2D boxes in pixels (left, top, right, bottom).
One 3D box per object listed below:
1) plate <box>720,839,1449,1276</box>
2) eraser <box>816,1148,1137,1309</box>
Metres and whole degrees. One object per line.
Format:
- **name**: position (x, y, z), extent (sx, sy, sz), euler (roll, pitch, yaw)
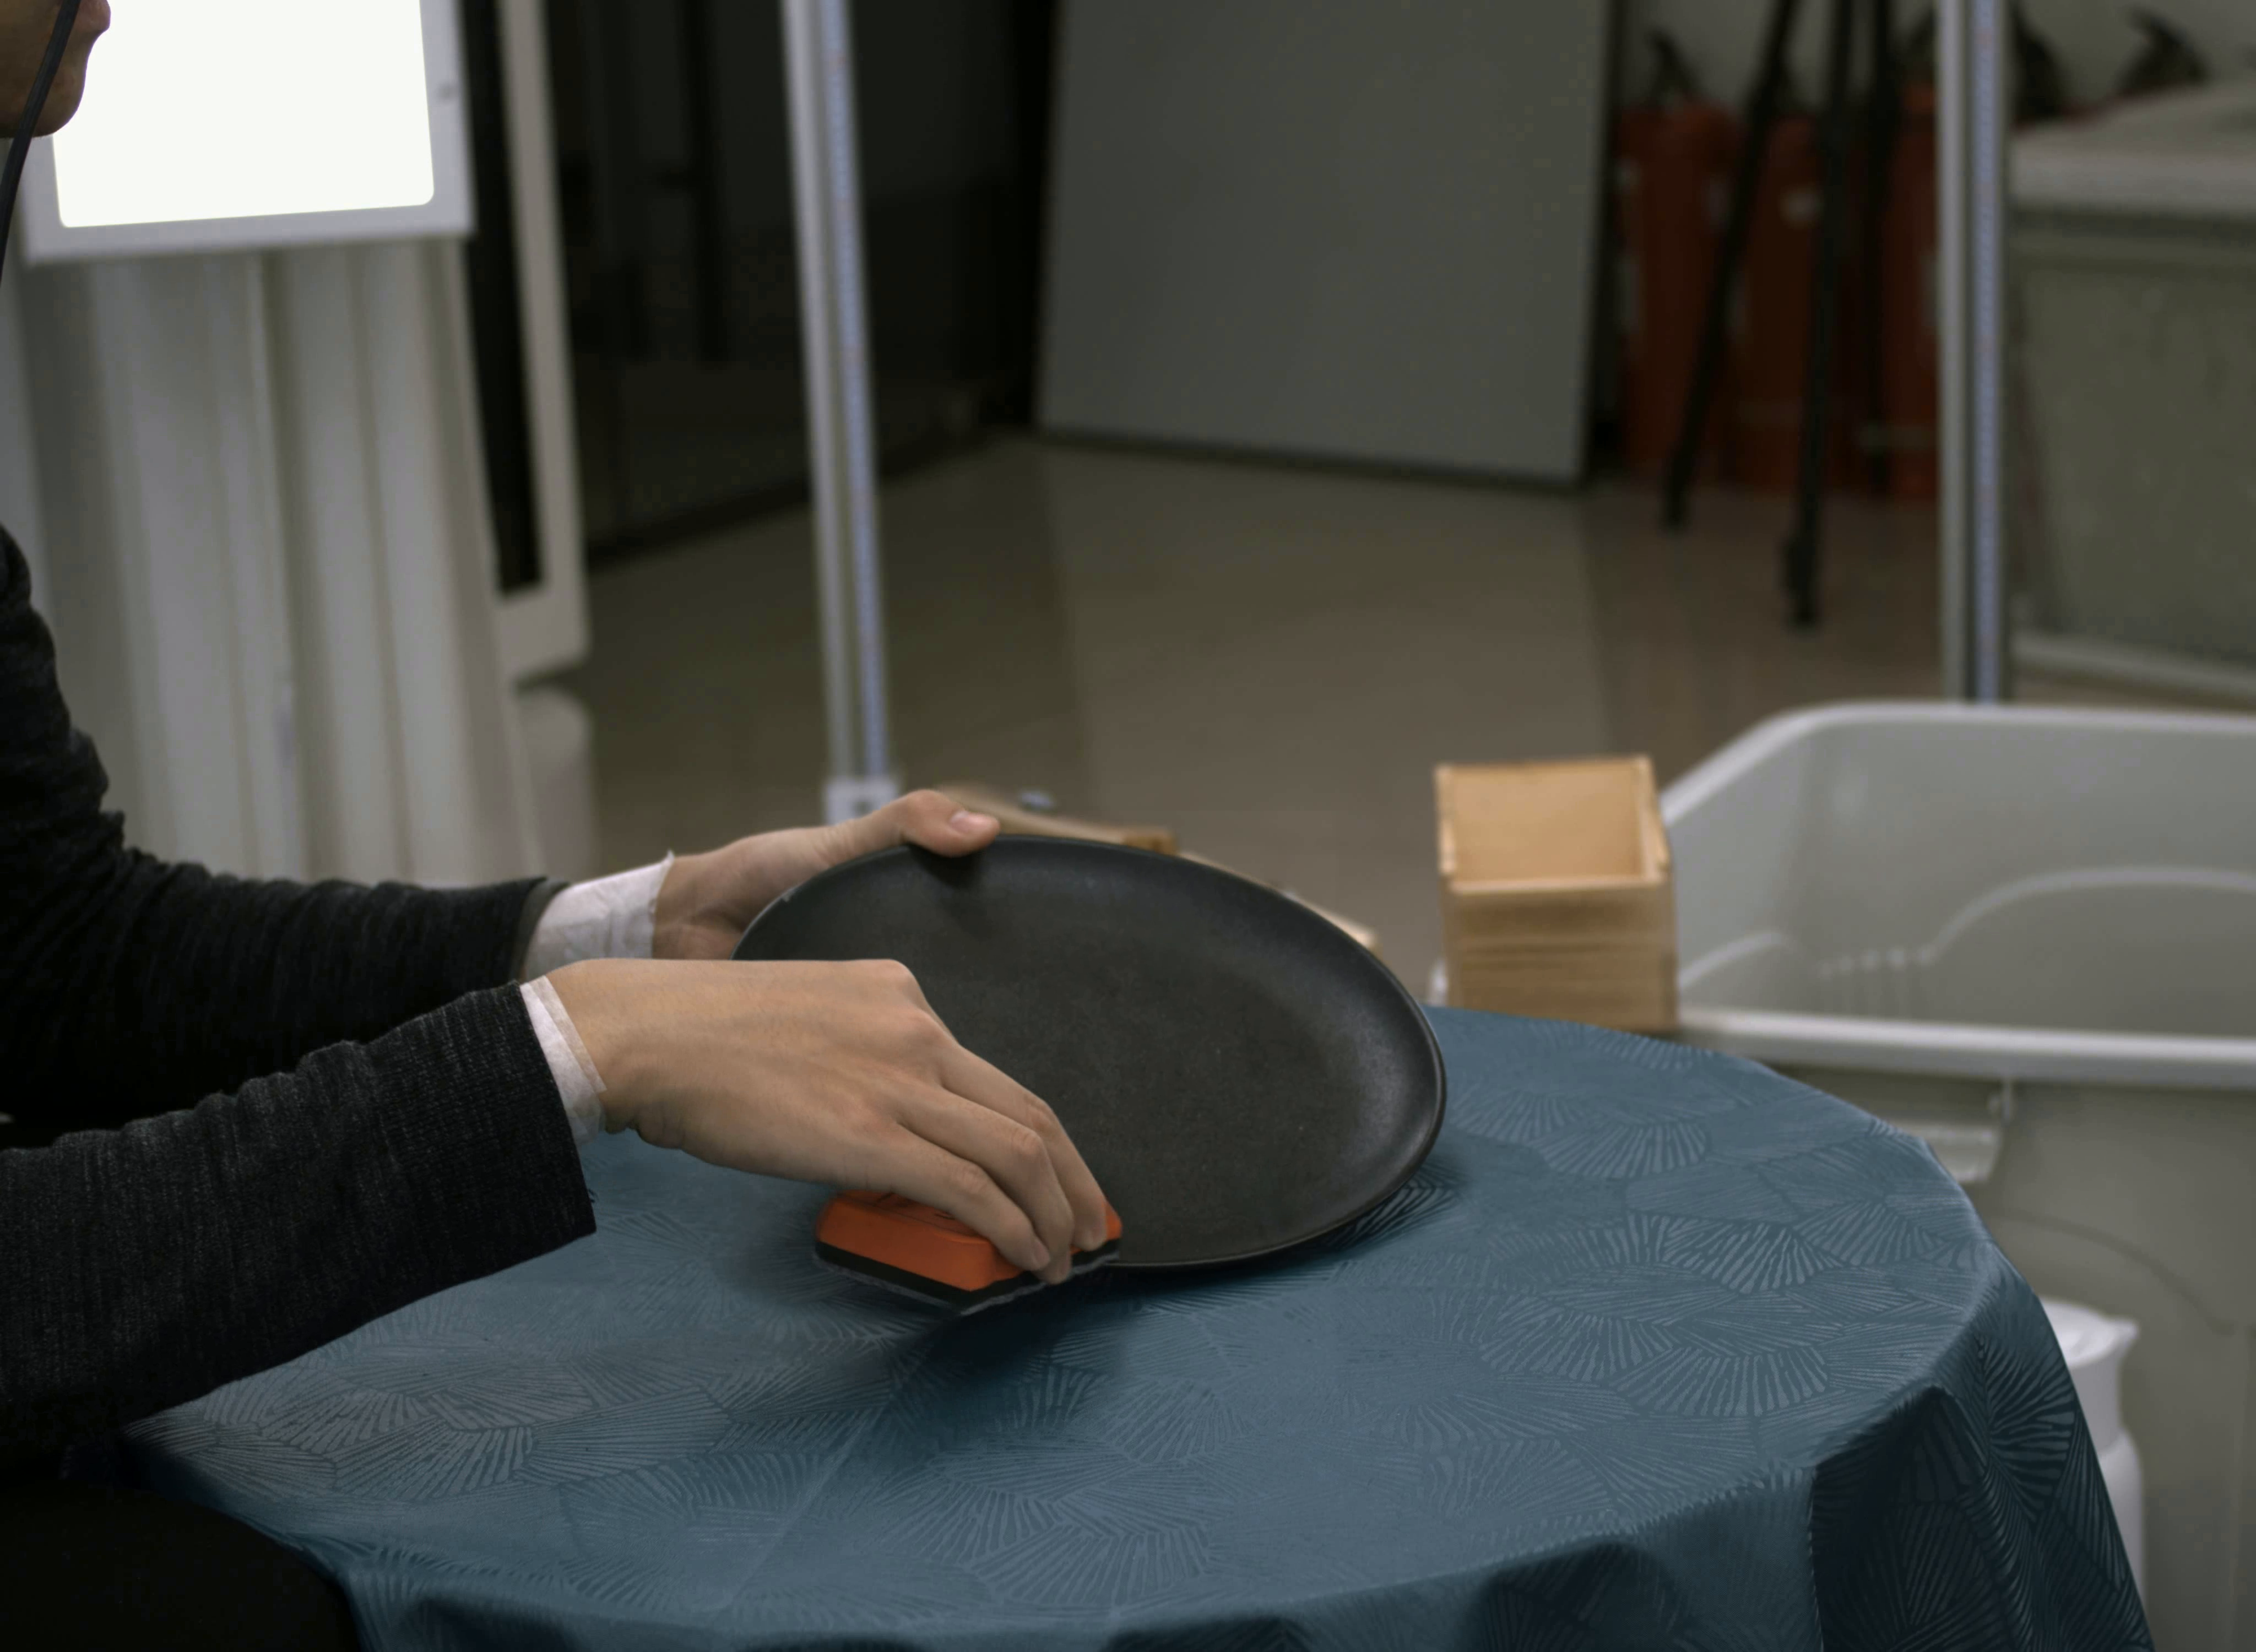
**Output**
- **plate**: position (-0.014, 0.078, 1.769), extent (0.241, 0.023, 0.246), euler (5, 32, -4)
- **eraser**: position (-0.045, 0.121, 1.636), extent (0.059, 0.023, 0.106), euler (14, 12, 28)
